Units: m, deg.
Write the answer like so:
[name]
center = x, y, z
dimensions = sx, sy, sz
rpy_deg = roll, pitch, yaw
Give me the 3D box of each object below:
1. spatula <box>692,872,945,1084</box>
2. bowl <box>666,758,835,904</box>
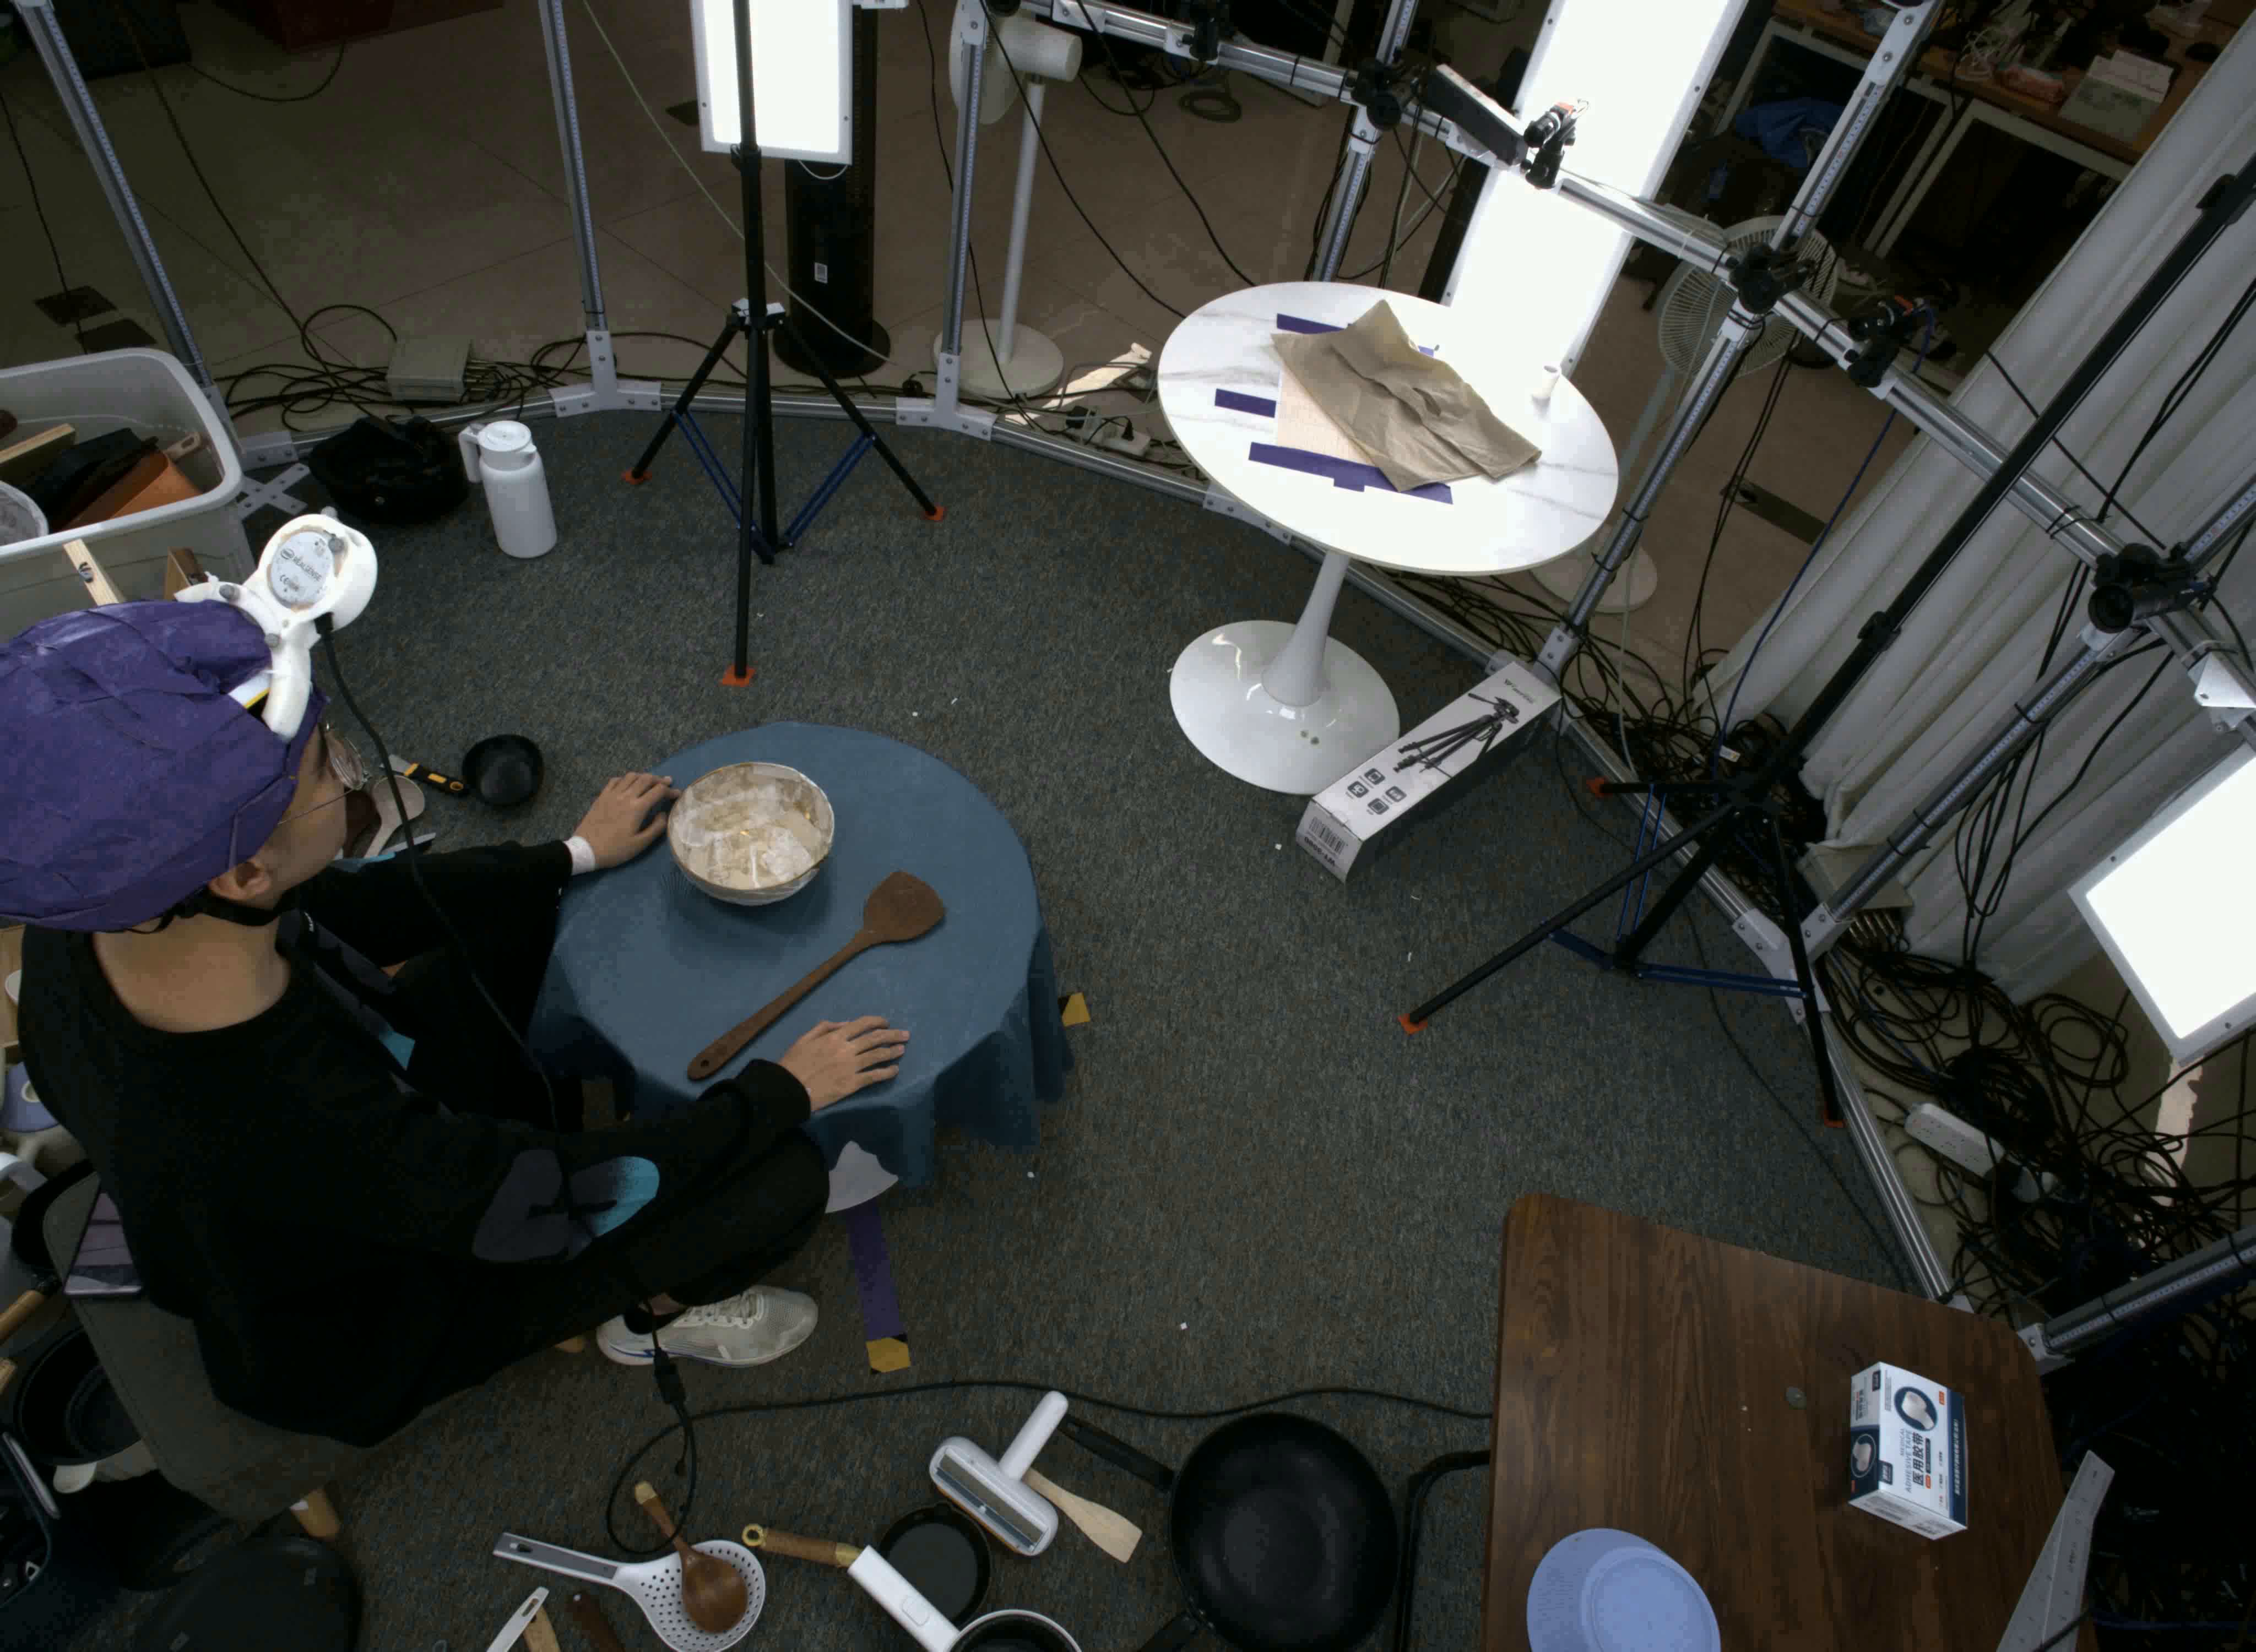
[spatula]
center = -0.382, 0.184, 1.594
dimensions = 0.094, 0.016, 0.386
rpy_deg = 38, 54, 15
[bowl]
center = -0.477, 0.021, 1.639
dimensions = 0.214, 0.096, 0.211
rpy_deg = 8, 54, -9
